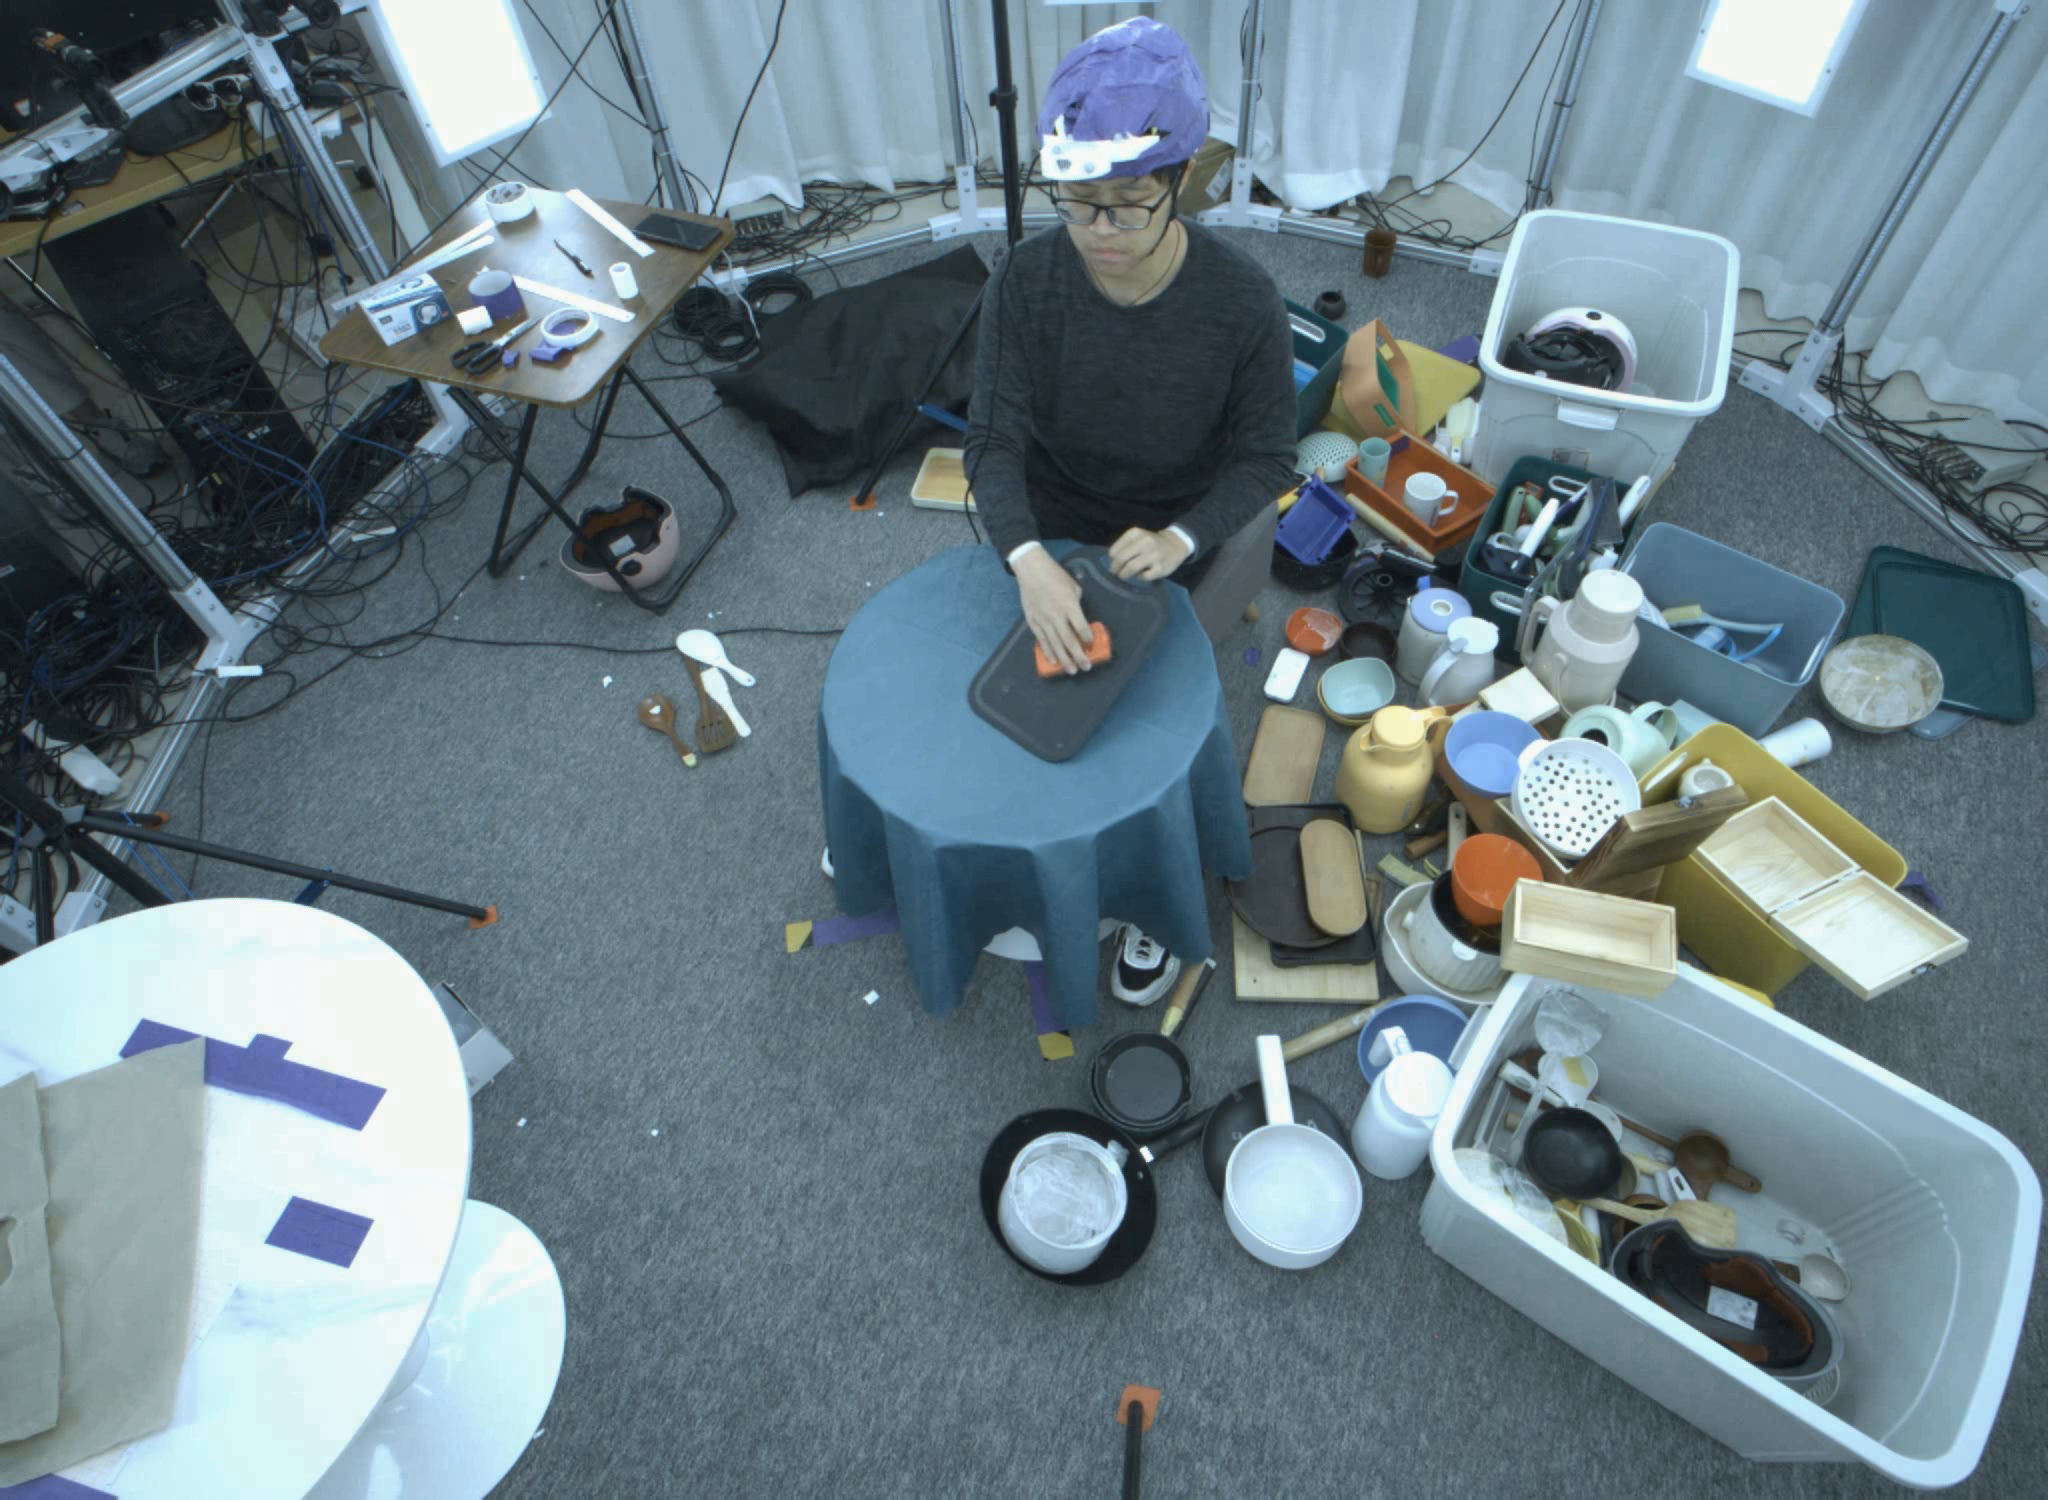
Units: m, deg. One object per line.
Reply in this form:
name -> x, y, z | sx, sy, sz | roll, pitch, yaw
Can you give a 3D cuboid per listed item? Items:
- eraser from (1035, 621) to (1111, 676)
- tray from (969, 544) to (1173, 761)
eraser -> 0.071, -0.148, 1.798 | 0.107, 0.023, 0.058 | -13, 69, 16
tray -> 0.070, -0.154, 1.810 | 0.207, 0.010, 0.325 | 36, 88, 23
